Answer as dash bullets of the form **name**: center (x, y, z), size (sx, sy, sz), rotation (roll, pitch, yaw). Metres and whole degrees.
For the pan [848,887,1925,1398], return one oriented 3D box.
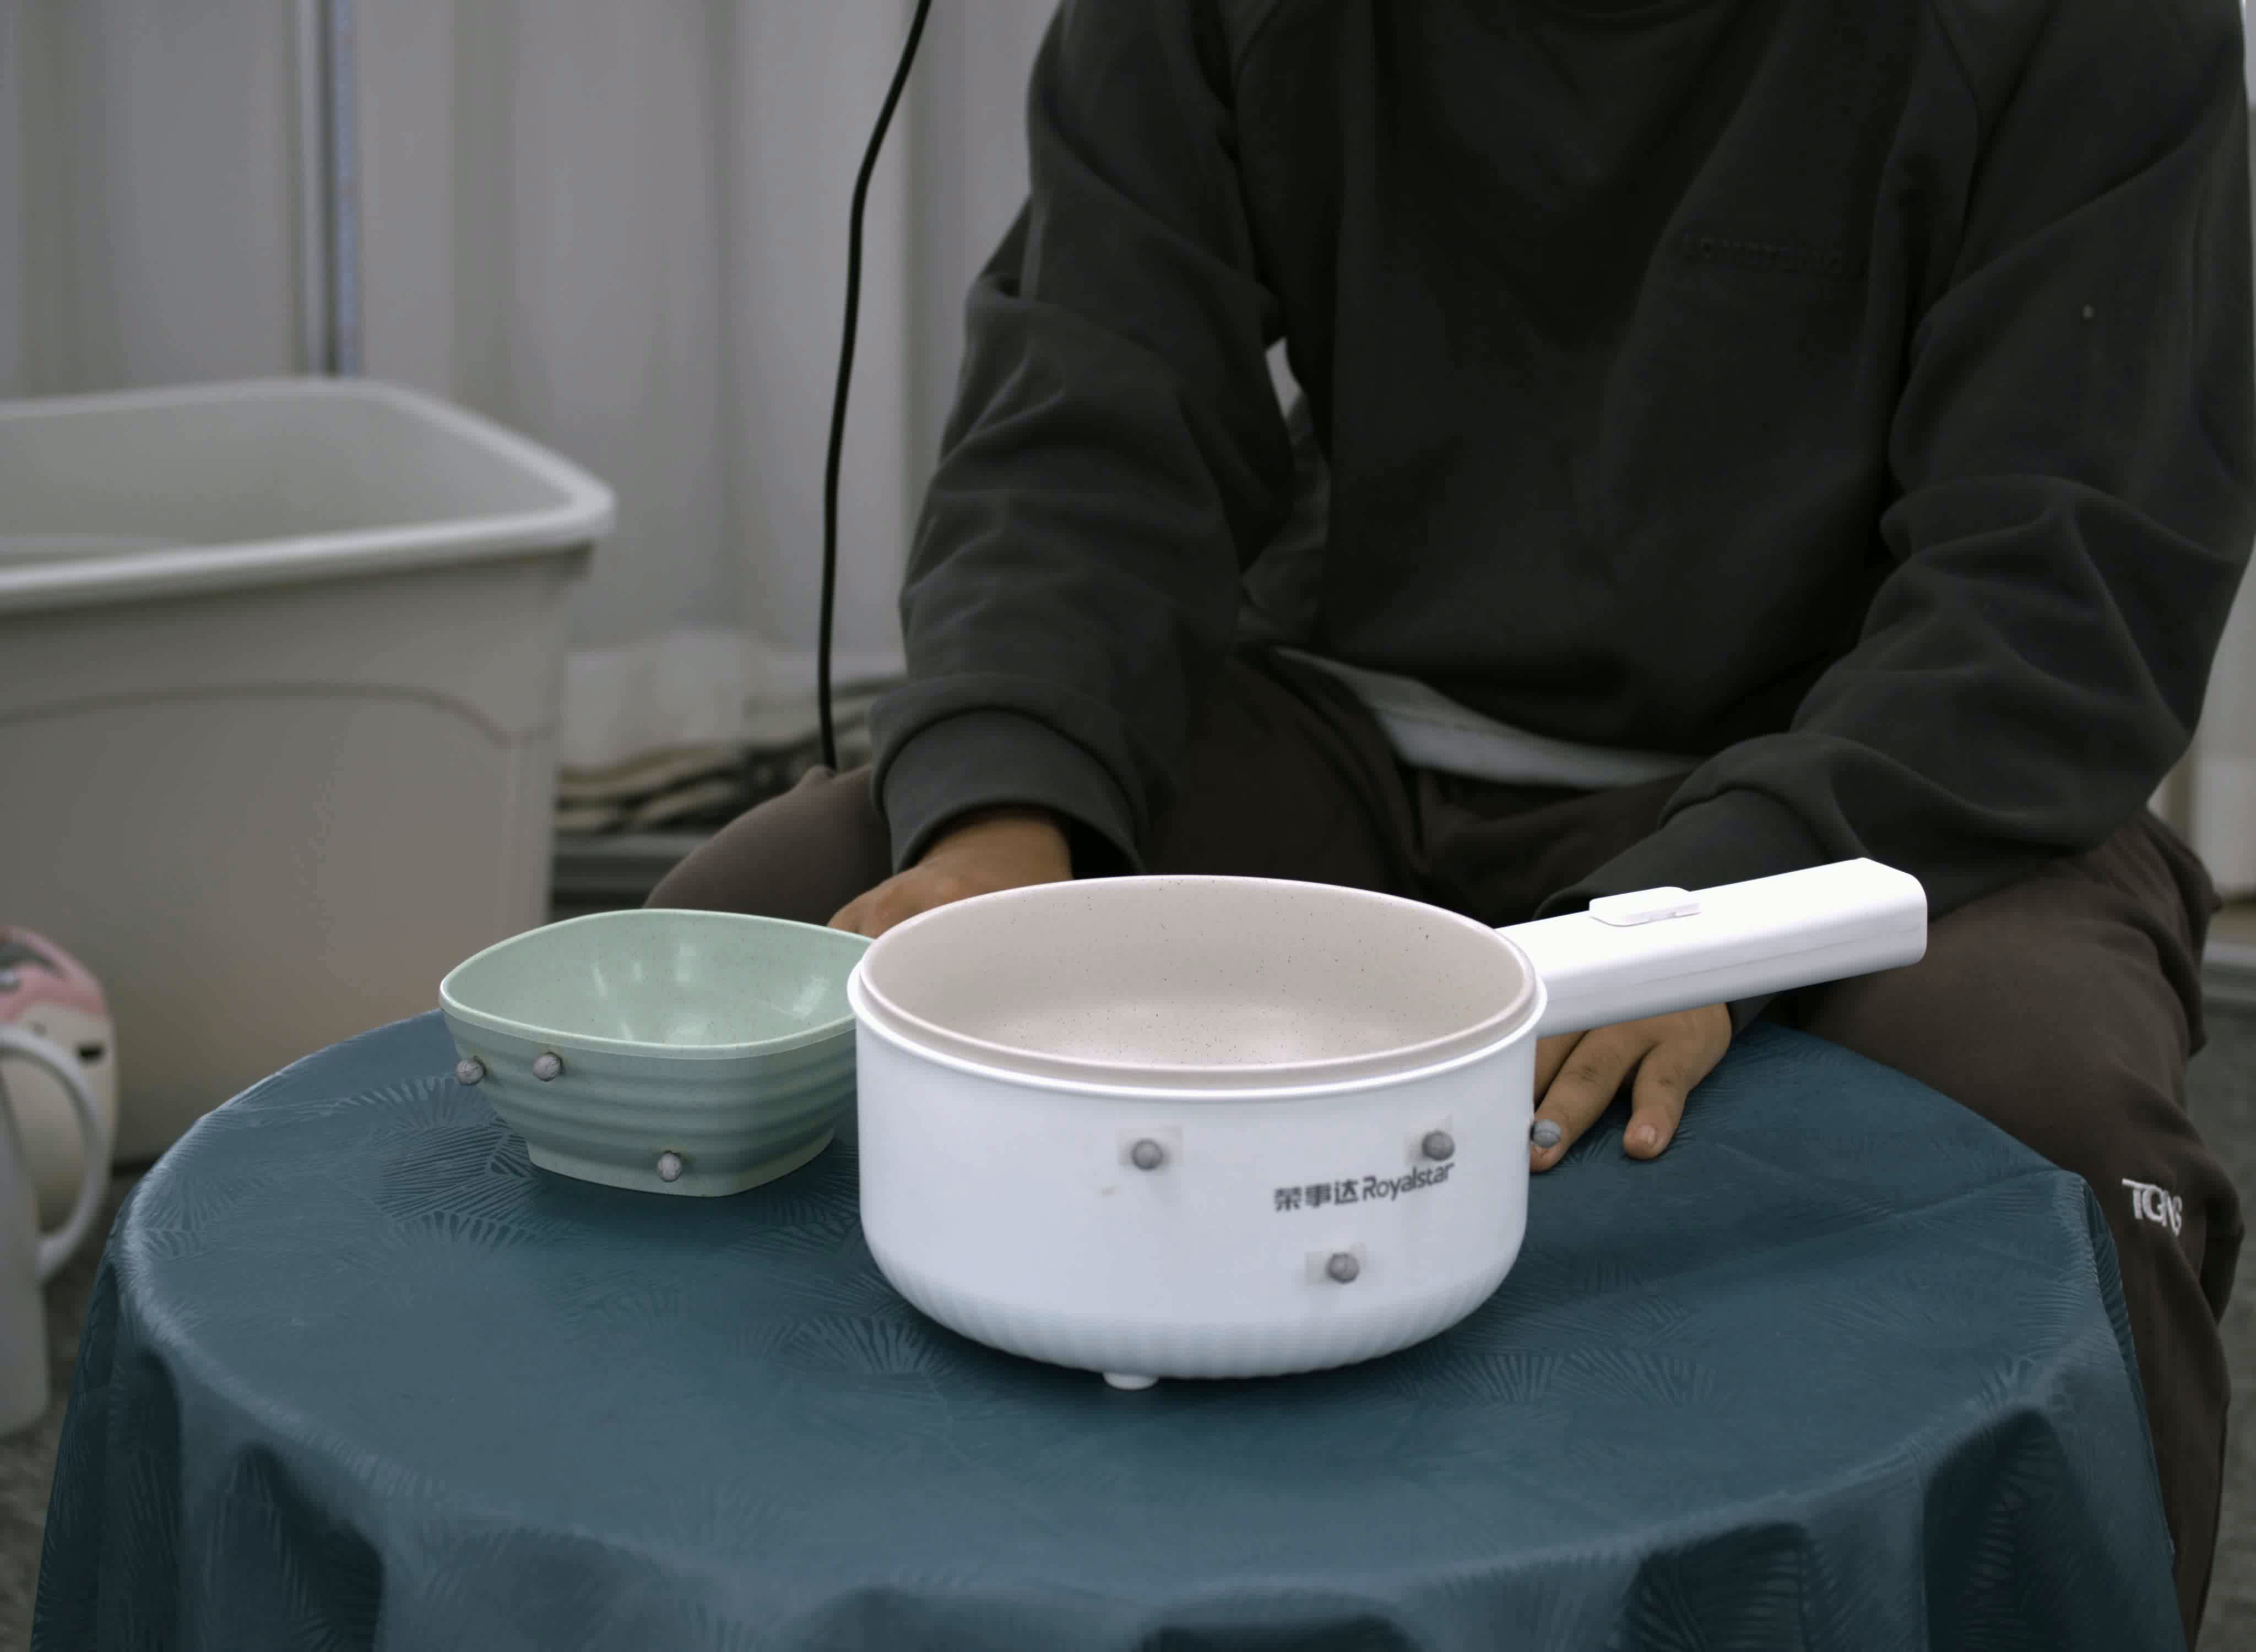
- **pan**: center (0.085, 0.085, 1.564), size (0.356, 0.103, 0.199), rotation (-7, 14, -31)

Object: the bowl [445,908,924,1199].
- **bowl**: center (-0.137, 0.074, 1.650), size (0.151, 0.059, 0.150), rotation (-1, 16, 1)
